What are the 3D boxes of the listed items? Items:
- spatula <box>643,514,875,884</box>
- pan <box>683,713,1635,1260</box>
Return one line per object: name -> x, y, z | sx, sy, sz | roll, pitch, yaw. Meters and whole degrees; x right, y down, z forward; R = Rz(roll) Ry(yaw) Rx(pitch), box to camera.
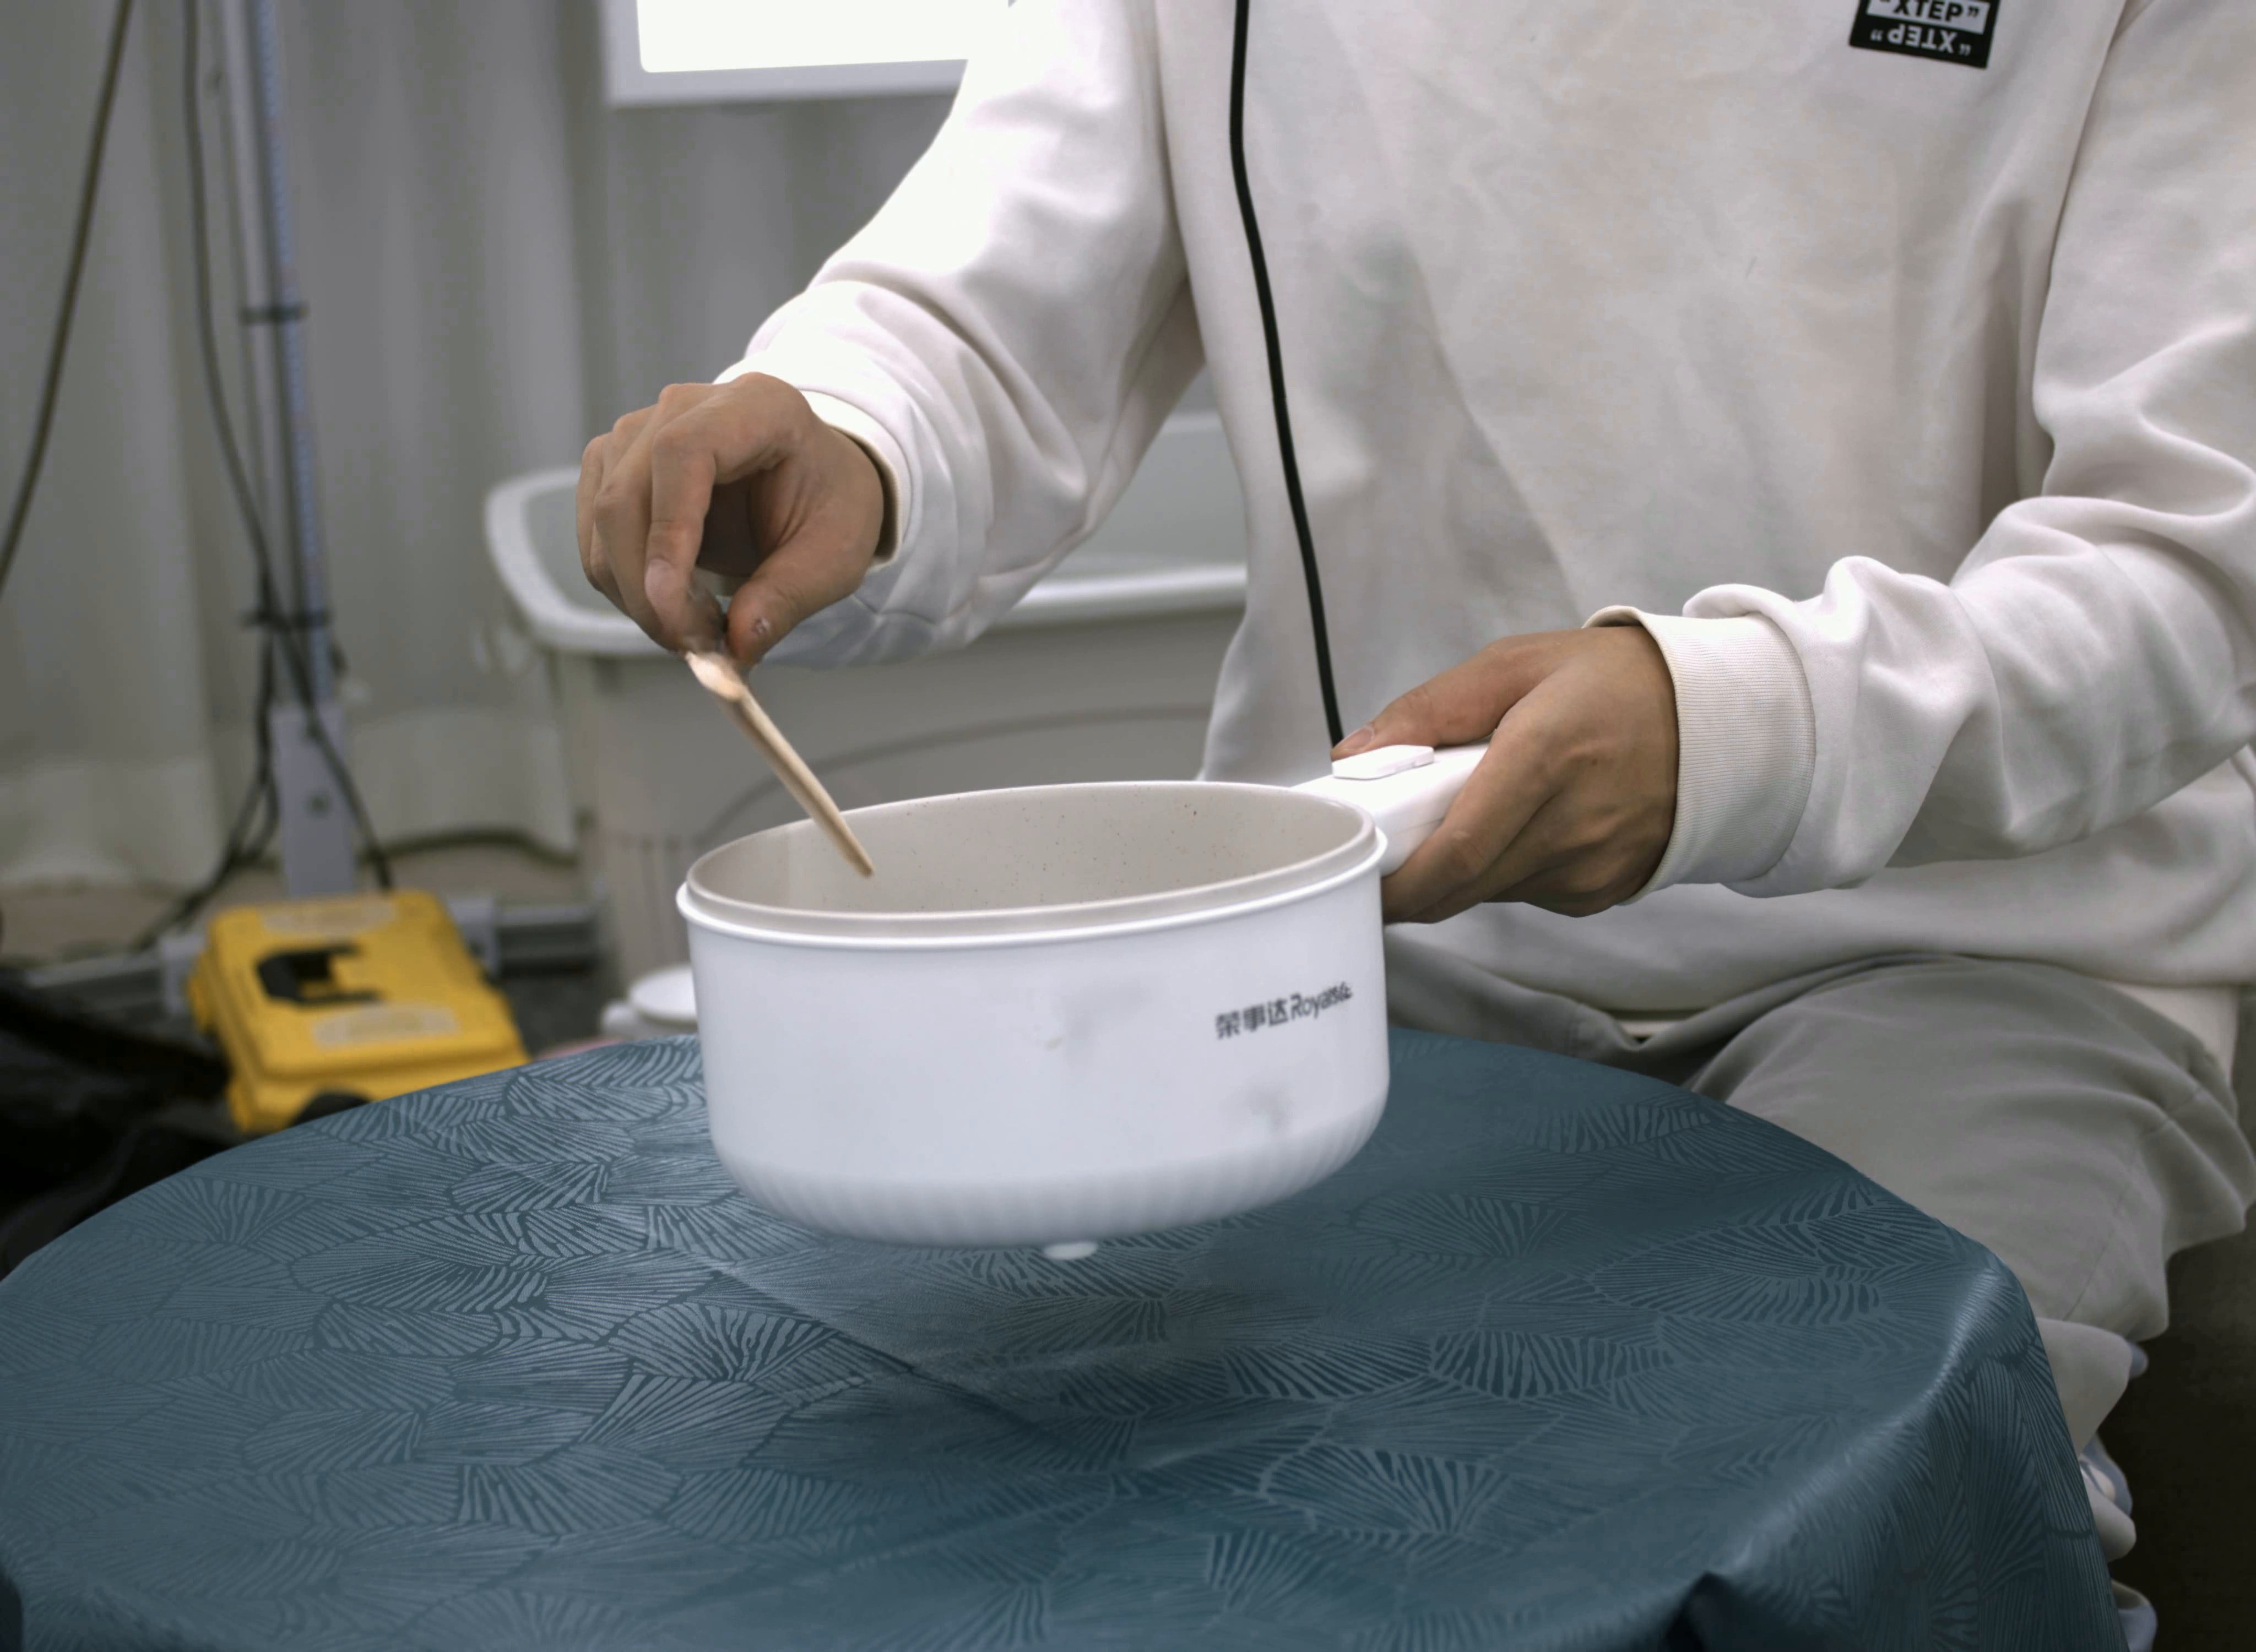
spatula -> -0.121, -0.050, 1.639 | 0.010, 0.071, 0.295 | -38, 20, 1
pan -> 0.028, 0.042, 1.605 | 0.202, 0.102, 0.354 | 4, 12, 42
